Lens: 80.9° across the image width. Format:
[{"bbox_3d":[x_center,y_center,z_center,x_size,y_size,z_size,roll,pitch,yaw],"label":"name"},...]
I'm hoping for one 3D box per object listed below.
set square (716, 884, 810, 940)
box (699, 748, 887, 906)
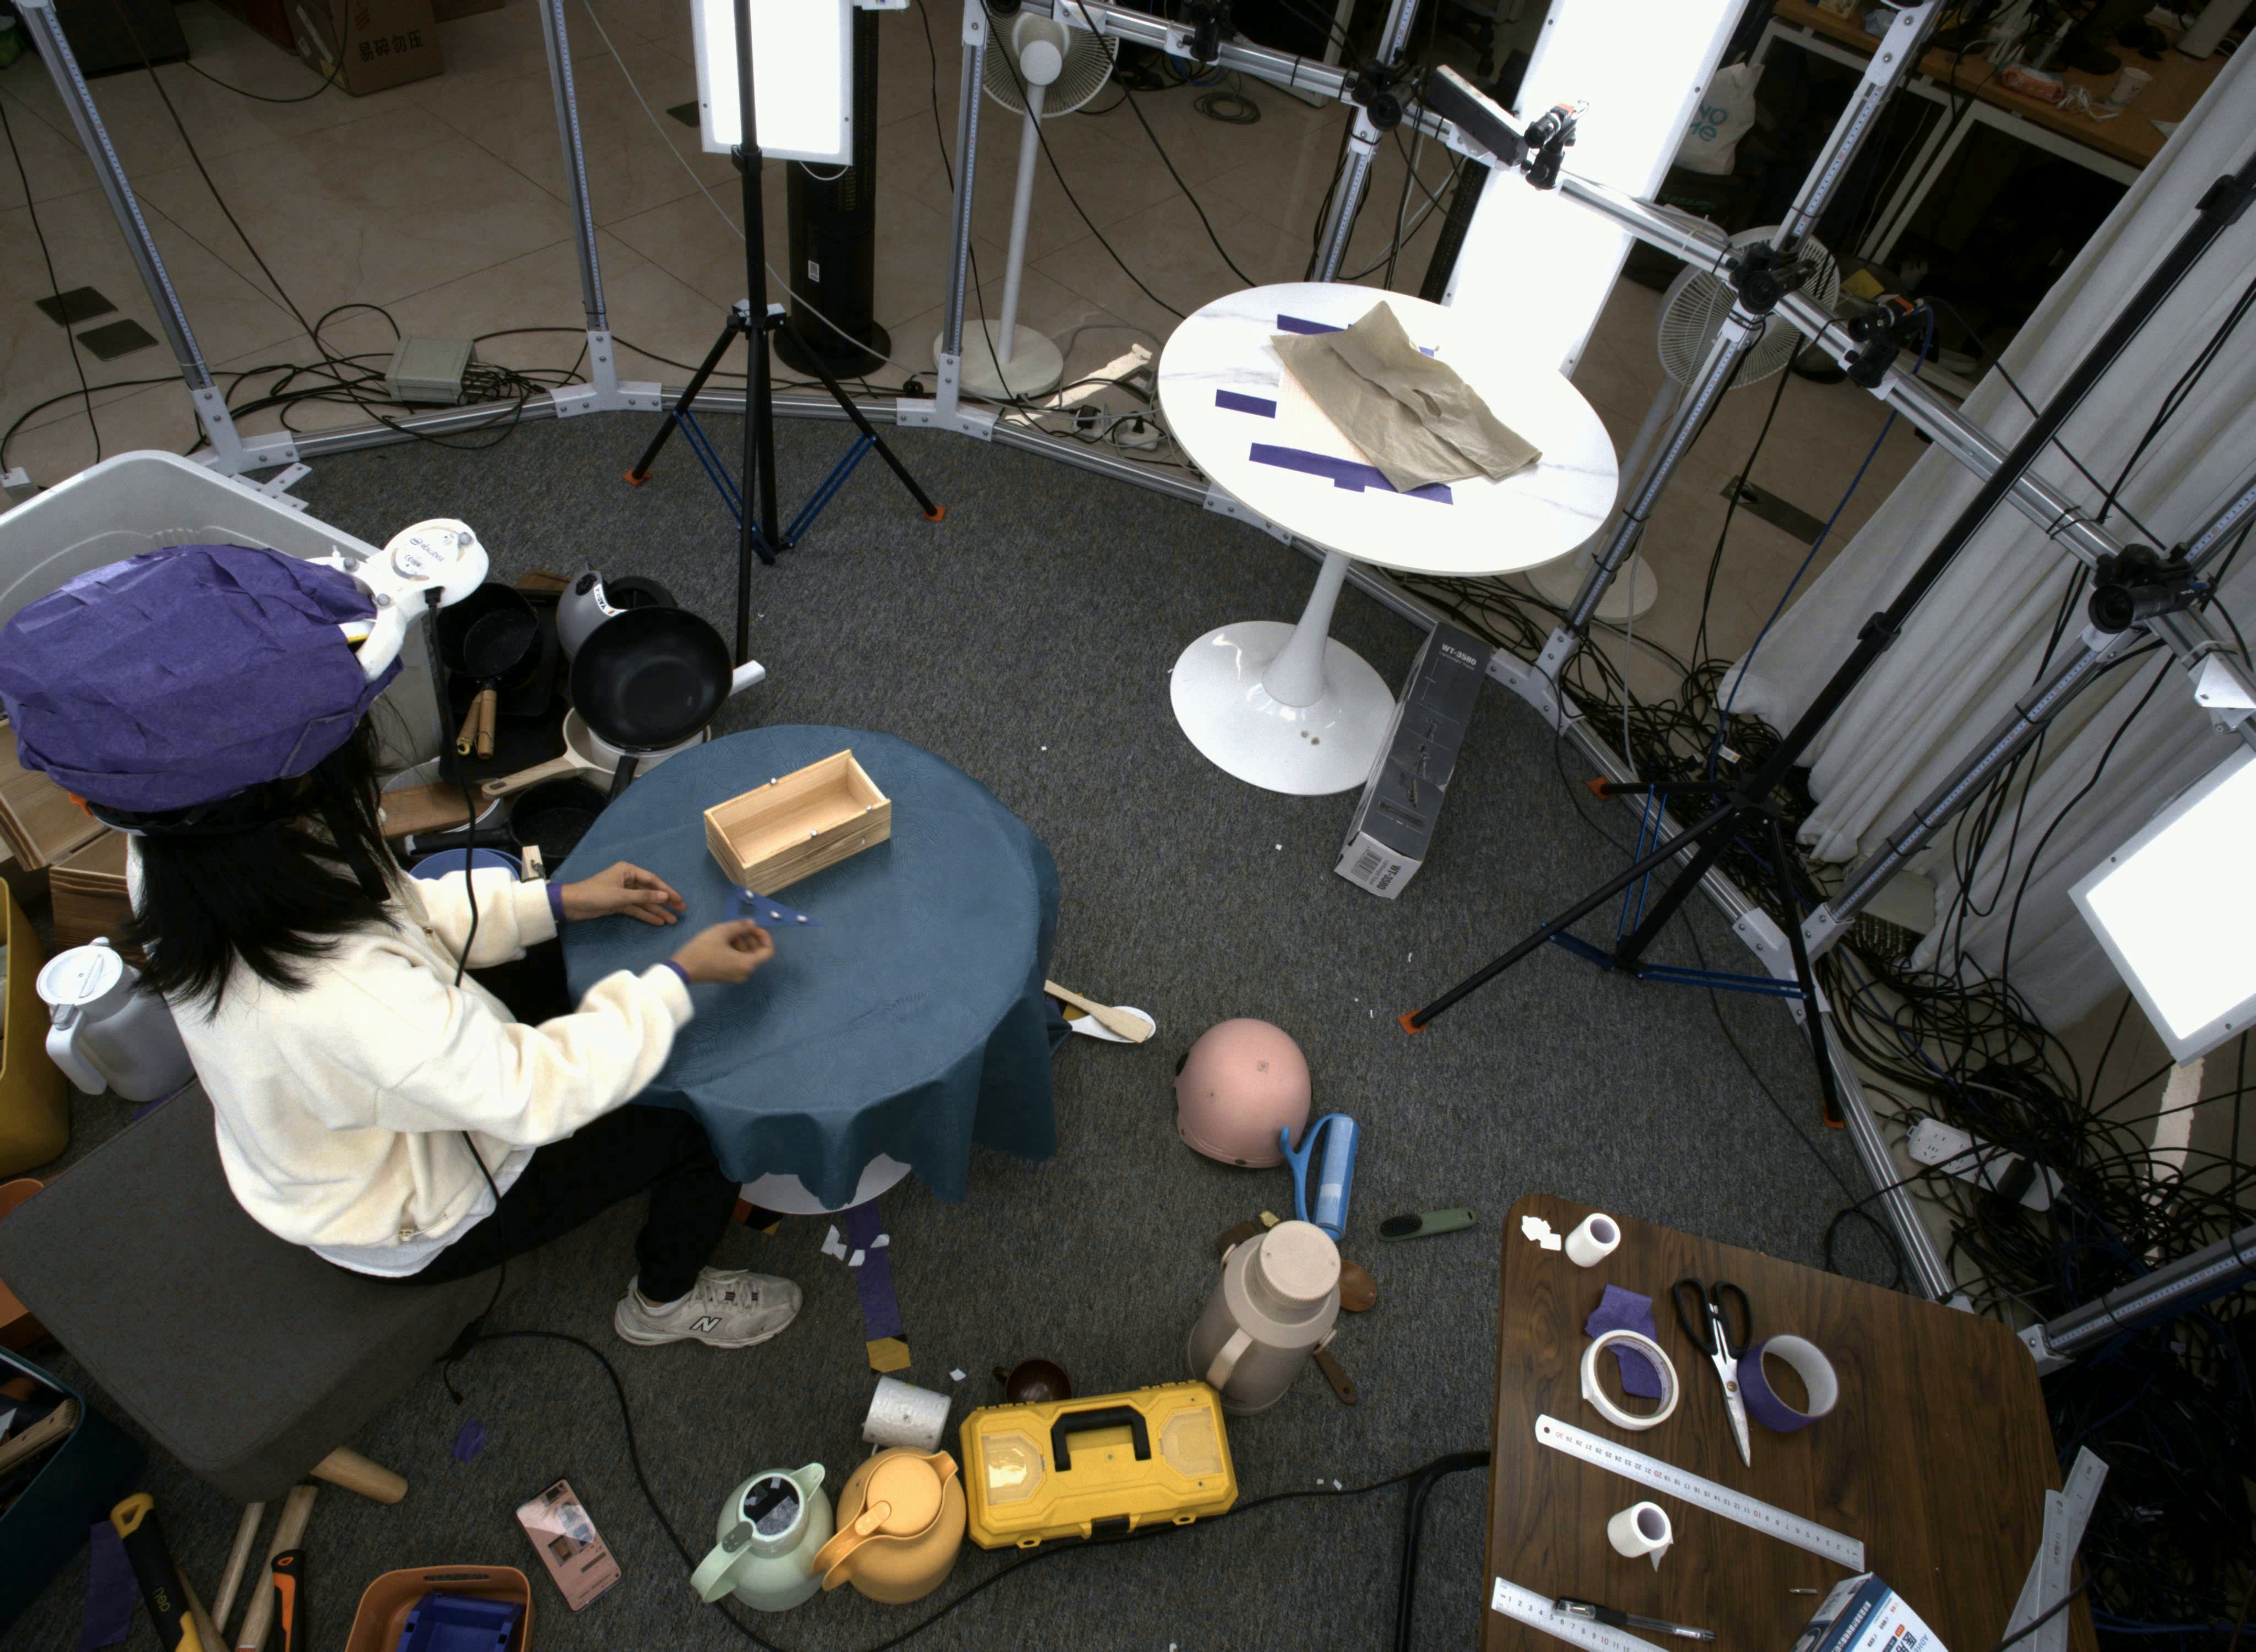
[{"bbox_3d":[-0.442,0.113,1.535,0.128,0.007,0.061,29,55,17],"label":"set square"},{"bbox_3d":[-0.428,-0.002,1.668,0.212,0.082,0.105,-29,63,-31],"label":"box"}]
